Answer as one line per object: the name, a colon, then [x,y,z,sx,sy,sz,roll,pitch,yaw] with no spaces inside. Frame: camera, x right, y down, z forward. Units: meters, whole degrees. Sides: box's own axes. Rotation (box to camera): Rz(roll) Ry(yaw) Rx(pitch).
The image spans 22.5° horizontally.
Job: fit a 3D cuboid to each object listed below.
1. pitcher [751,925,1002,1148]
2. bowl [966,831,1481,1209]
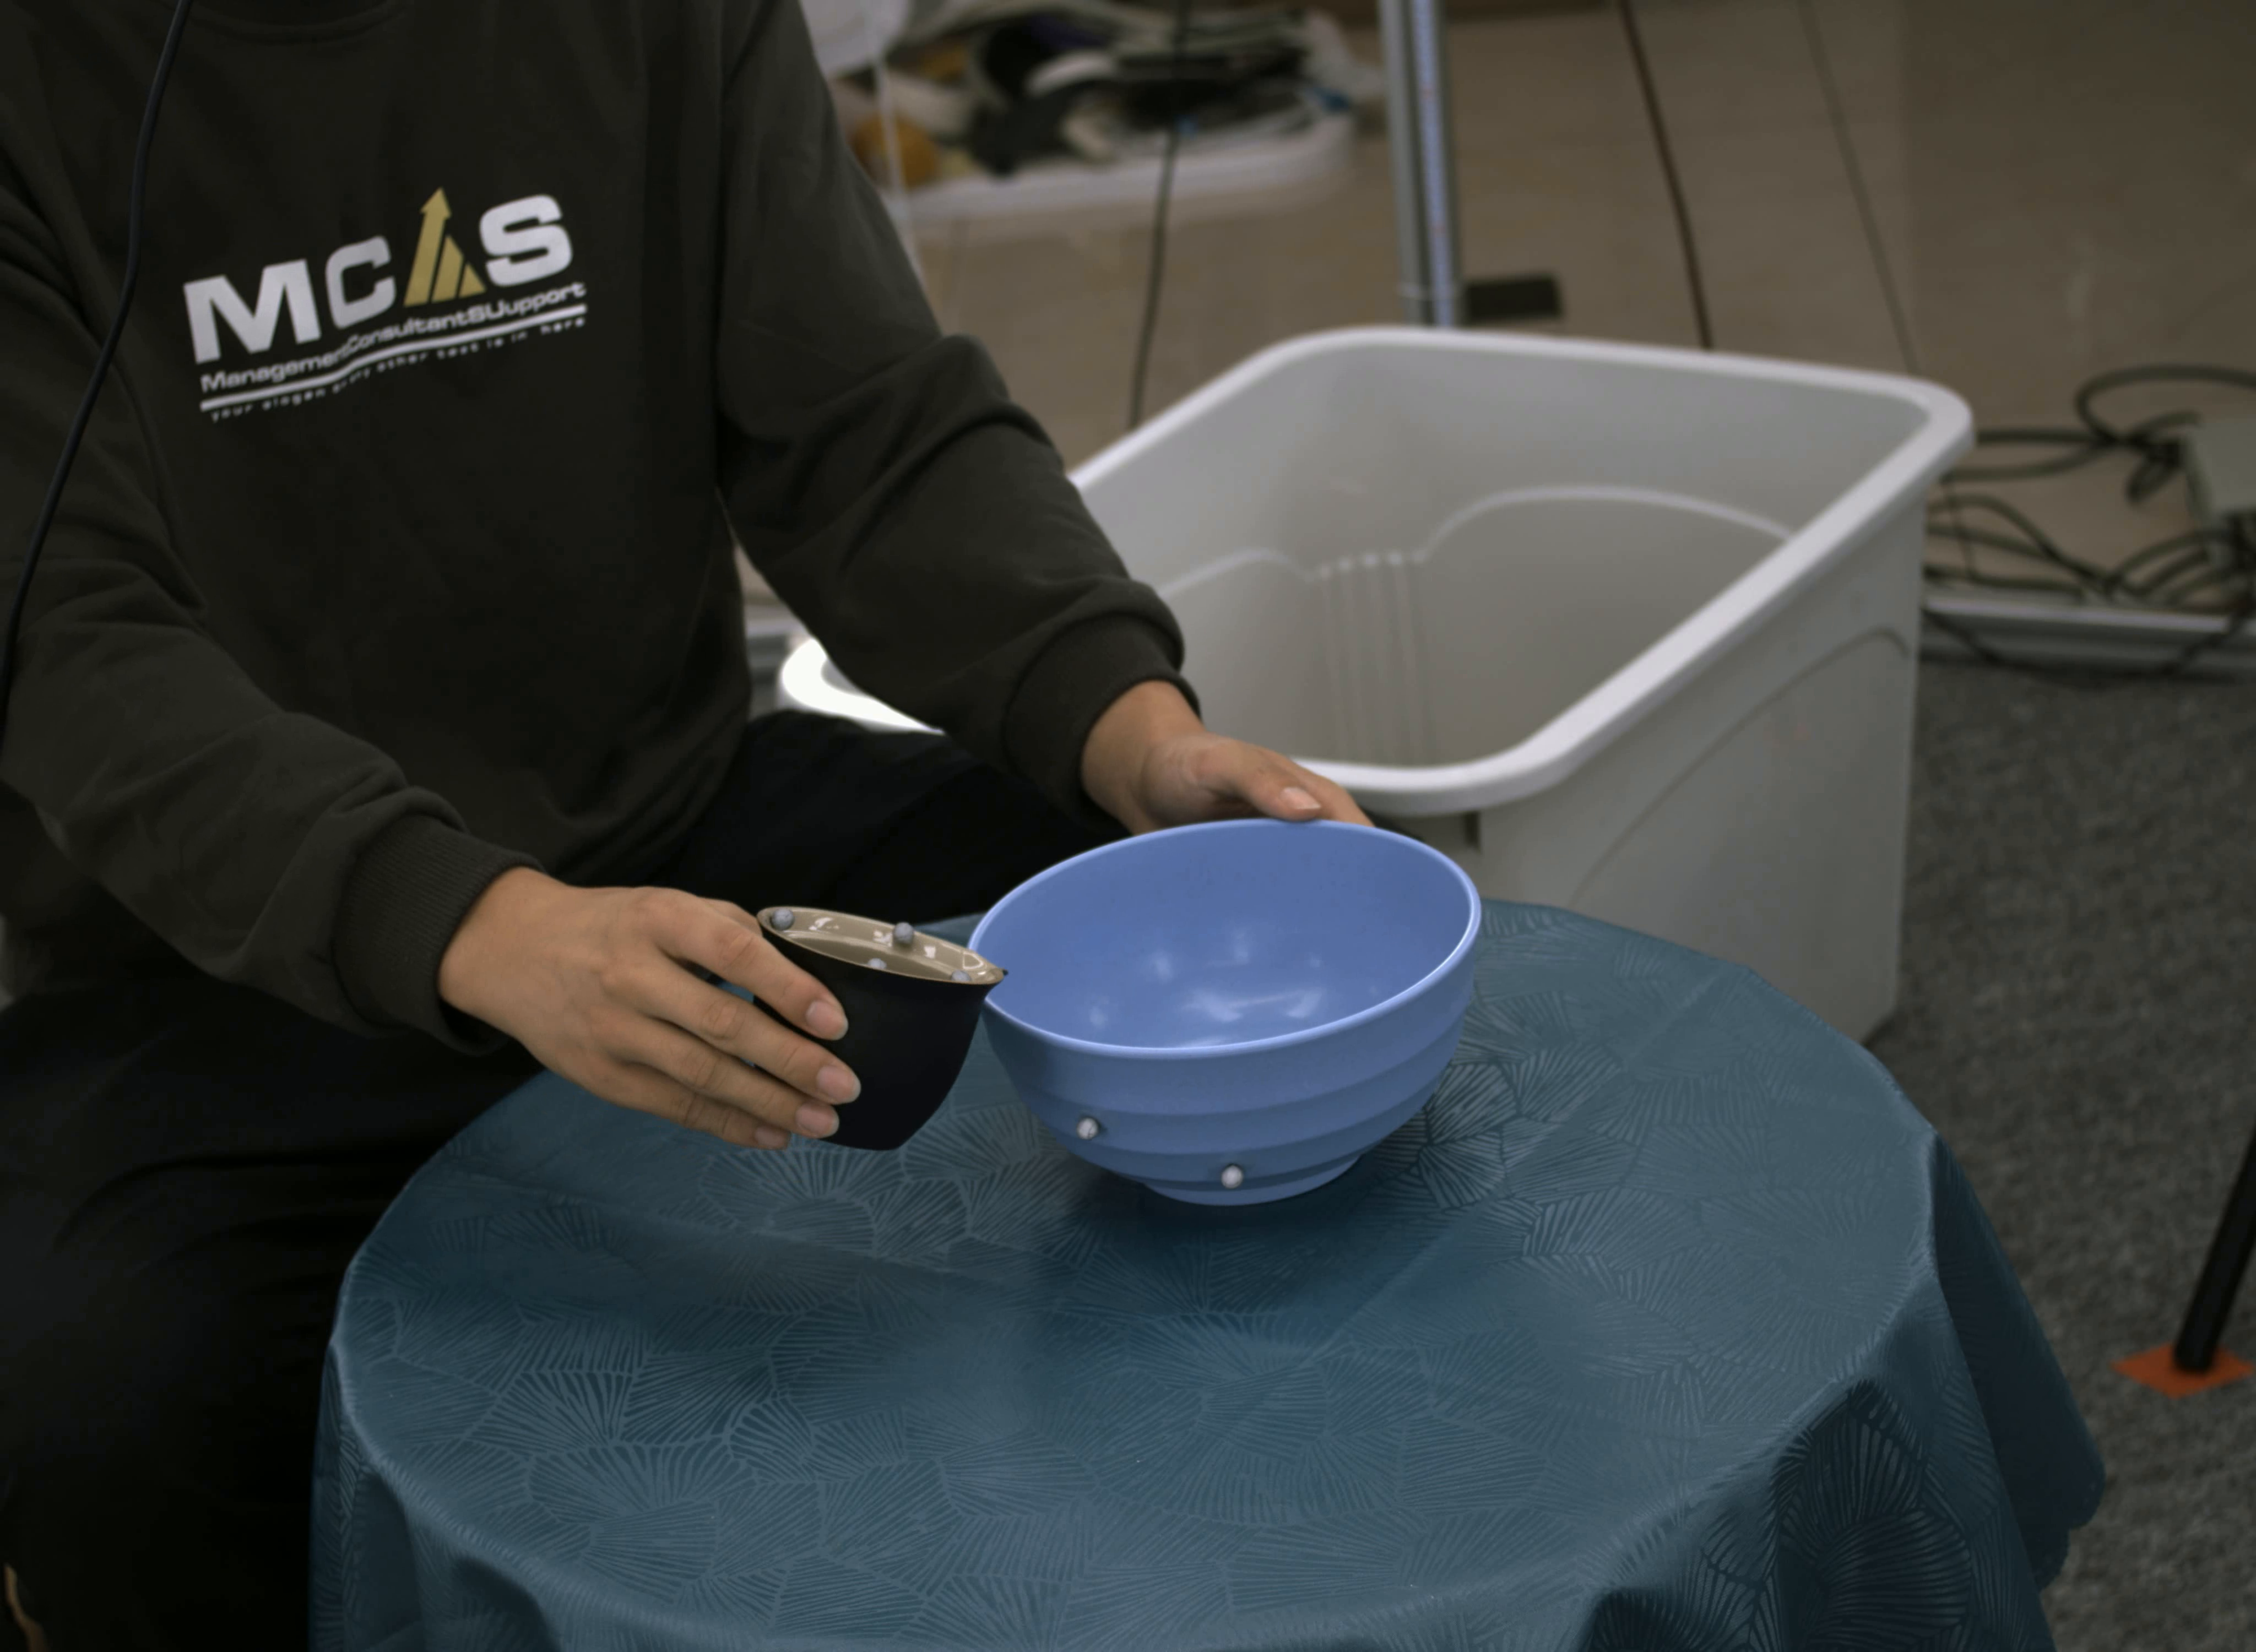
pitcher: [-0.094,0.076,2.062,0.096,0.072,0.083,7,11,-34]
bowl: [0.040,0.083,2.148,0.196,0.097,0.194,-7,23,3]
